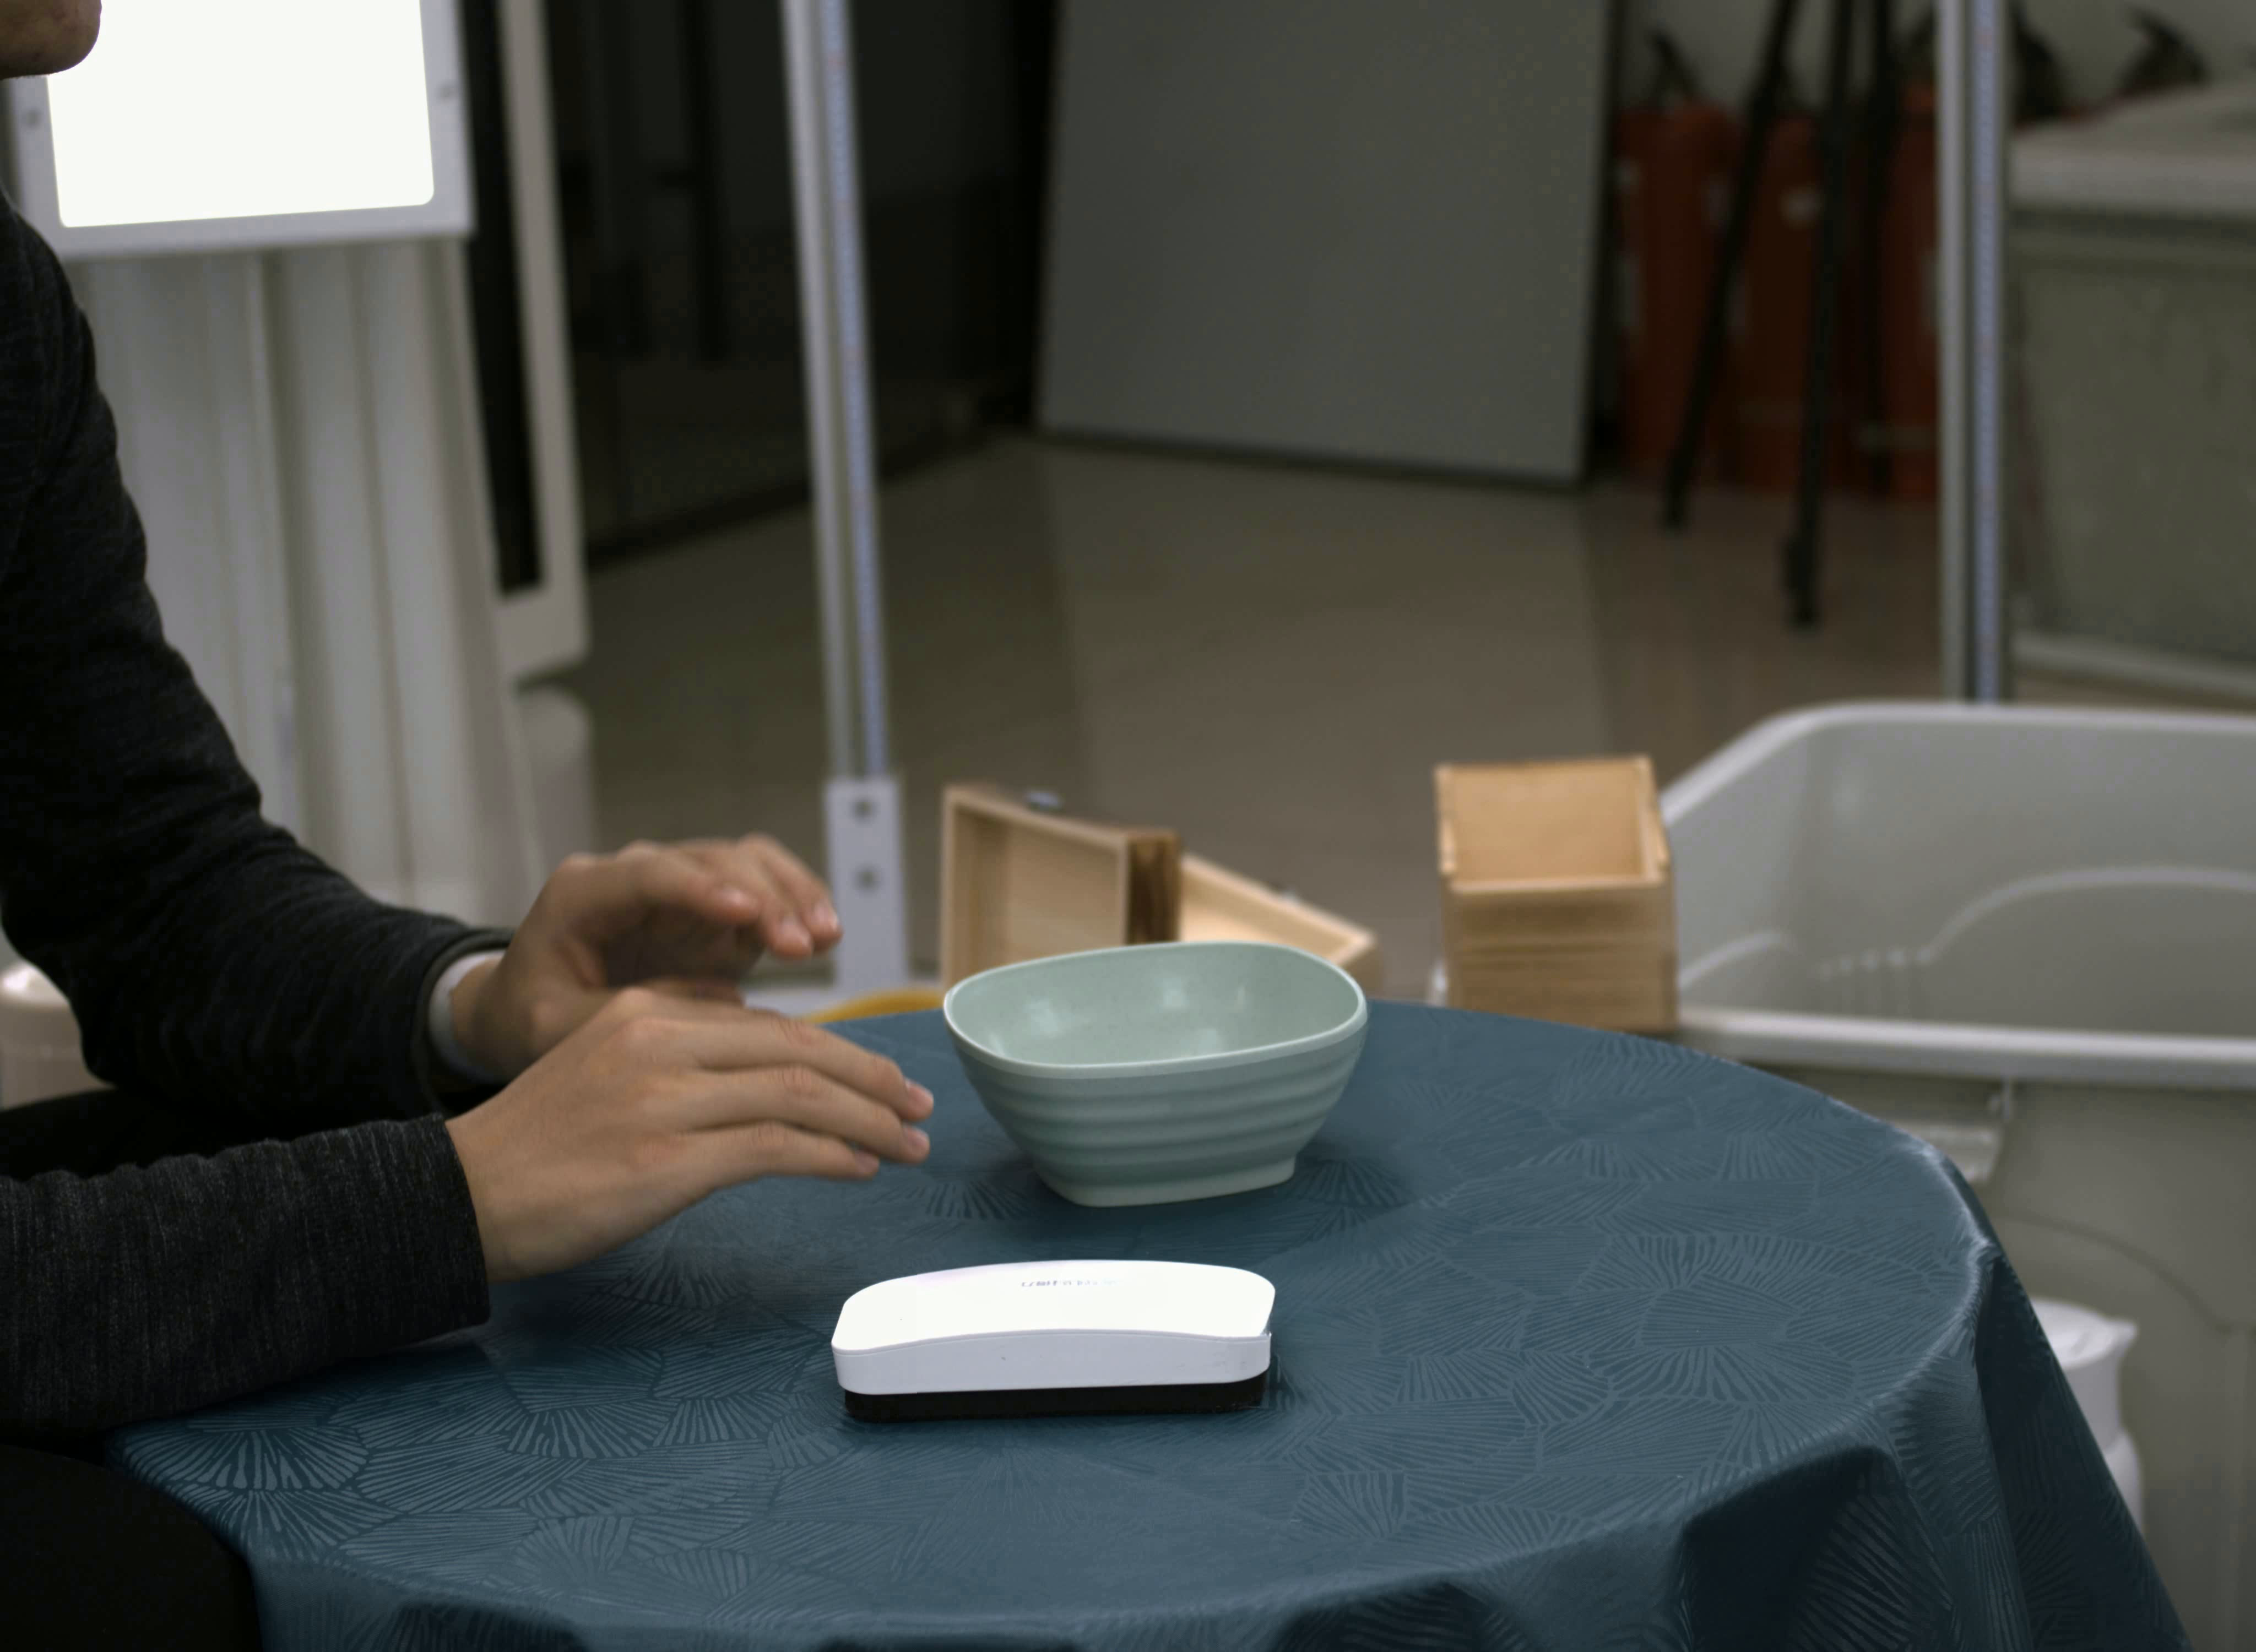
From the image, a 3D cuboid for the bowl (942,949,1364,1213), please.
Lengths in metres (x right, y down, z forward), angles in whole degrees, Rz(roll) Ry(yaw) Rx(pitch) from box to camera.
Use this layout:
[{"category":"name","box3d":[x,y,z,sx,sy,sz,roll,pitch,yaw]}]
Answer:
[{"category":"bowl","box3d":[0.009,0.087,1.789,0.149,0.059,0.152,-2,14,0]}]

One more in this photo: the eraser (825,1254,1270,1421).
[{"category":"eraser","box3d":[-0.023,0.151,1.589,0.130,0.035,0.063,-1,12,6]}]
